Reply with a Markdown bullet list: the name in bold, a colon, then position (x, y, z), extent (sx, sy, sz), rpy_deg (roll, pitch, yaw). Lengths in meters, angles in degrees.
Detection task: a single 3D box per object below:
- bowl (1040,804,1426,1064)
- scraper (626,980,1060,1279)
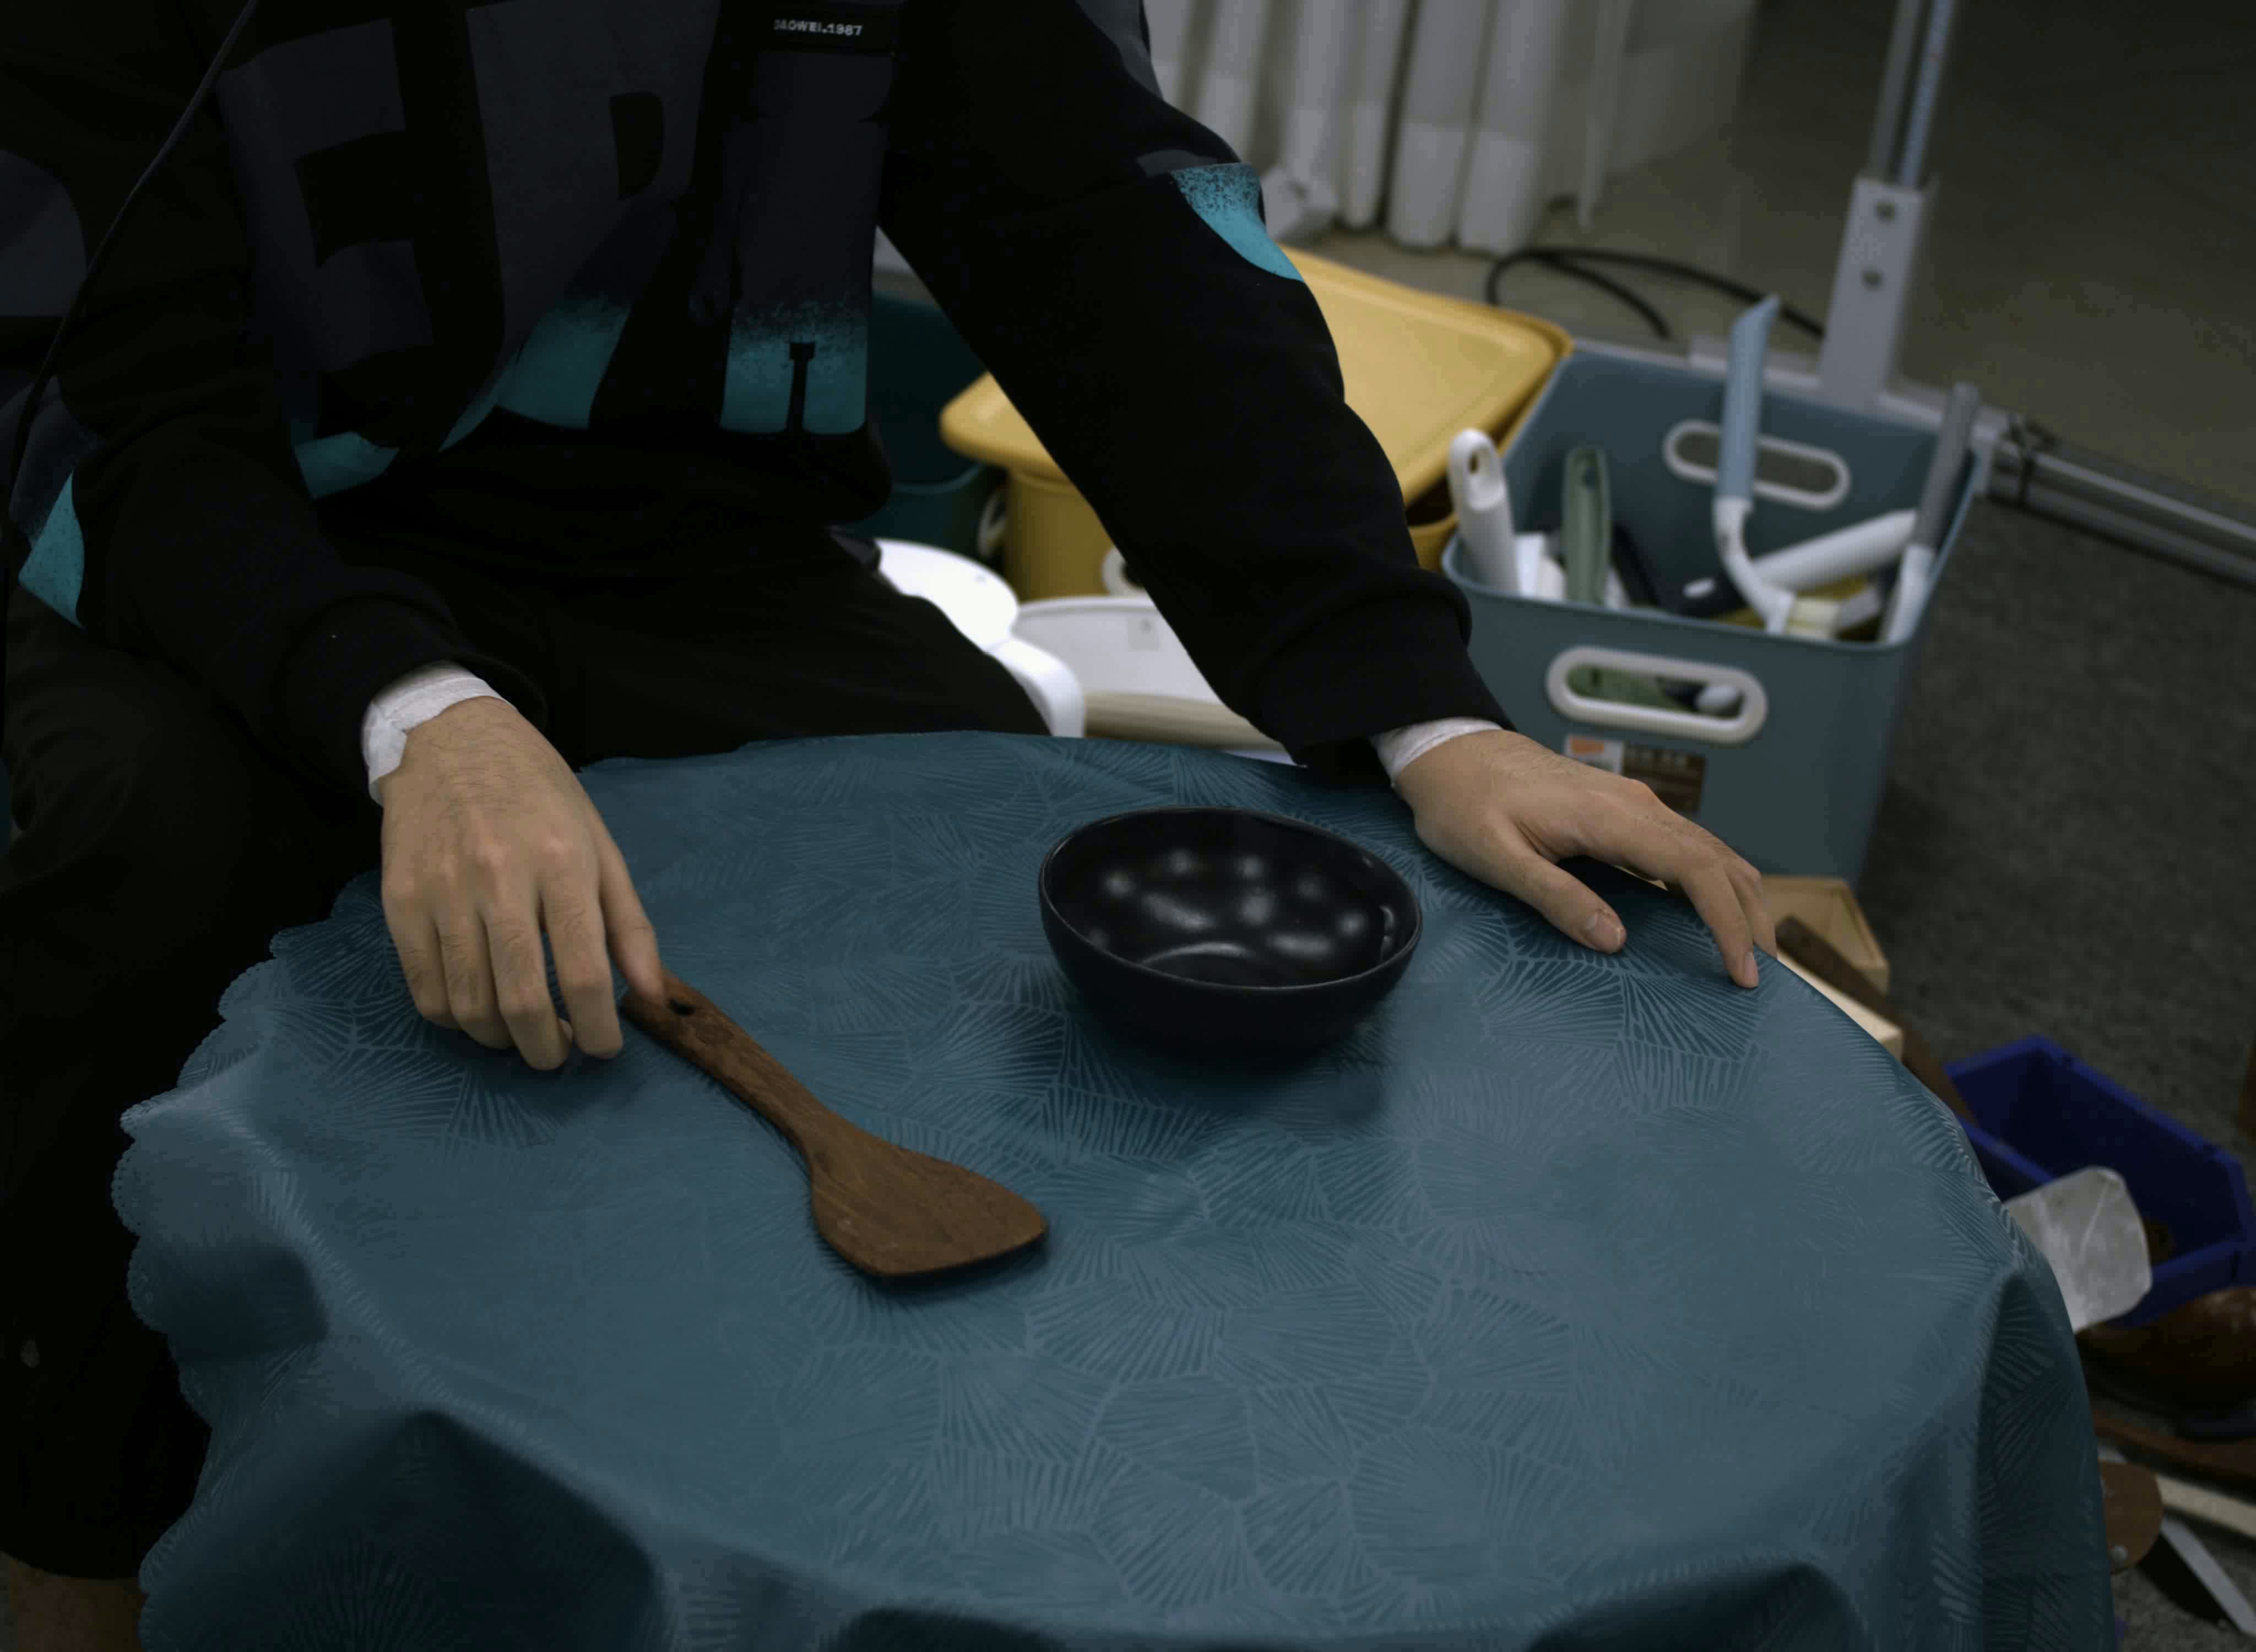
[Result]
- **bowl**: position (0.036, 0.046, 1.908), extent (0.139, 0.049, 0.141), rpy_deg (3, 28, -2)
- **scraper**: position (-0.108, 0.101, 1.811), extent (0.075, 0.011, 0.213), rpy_deg (-12, 31, -34)
